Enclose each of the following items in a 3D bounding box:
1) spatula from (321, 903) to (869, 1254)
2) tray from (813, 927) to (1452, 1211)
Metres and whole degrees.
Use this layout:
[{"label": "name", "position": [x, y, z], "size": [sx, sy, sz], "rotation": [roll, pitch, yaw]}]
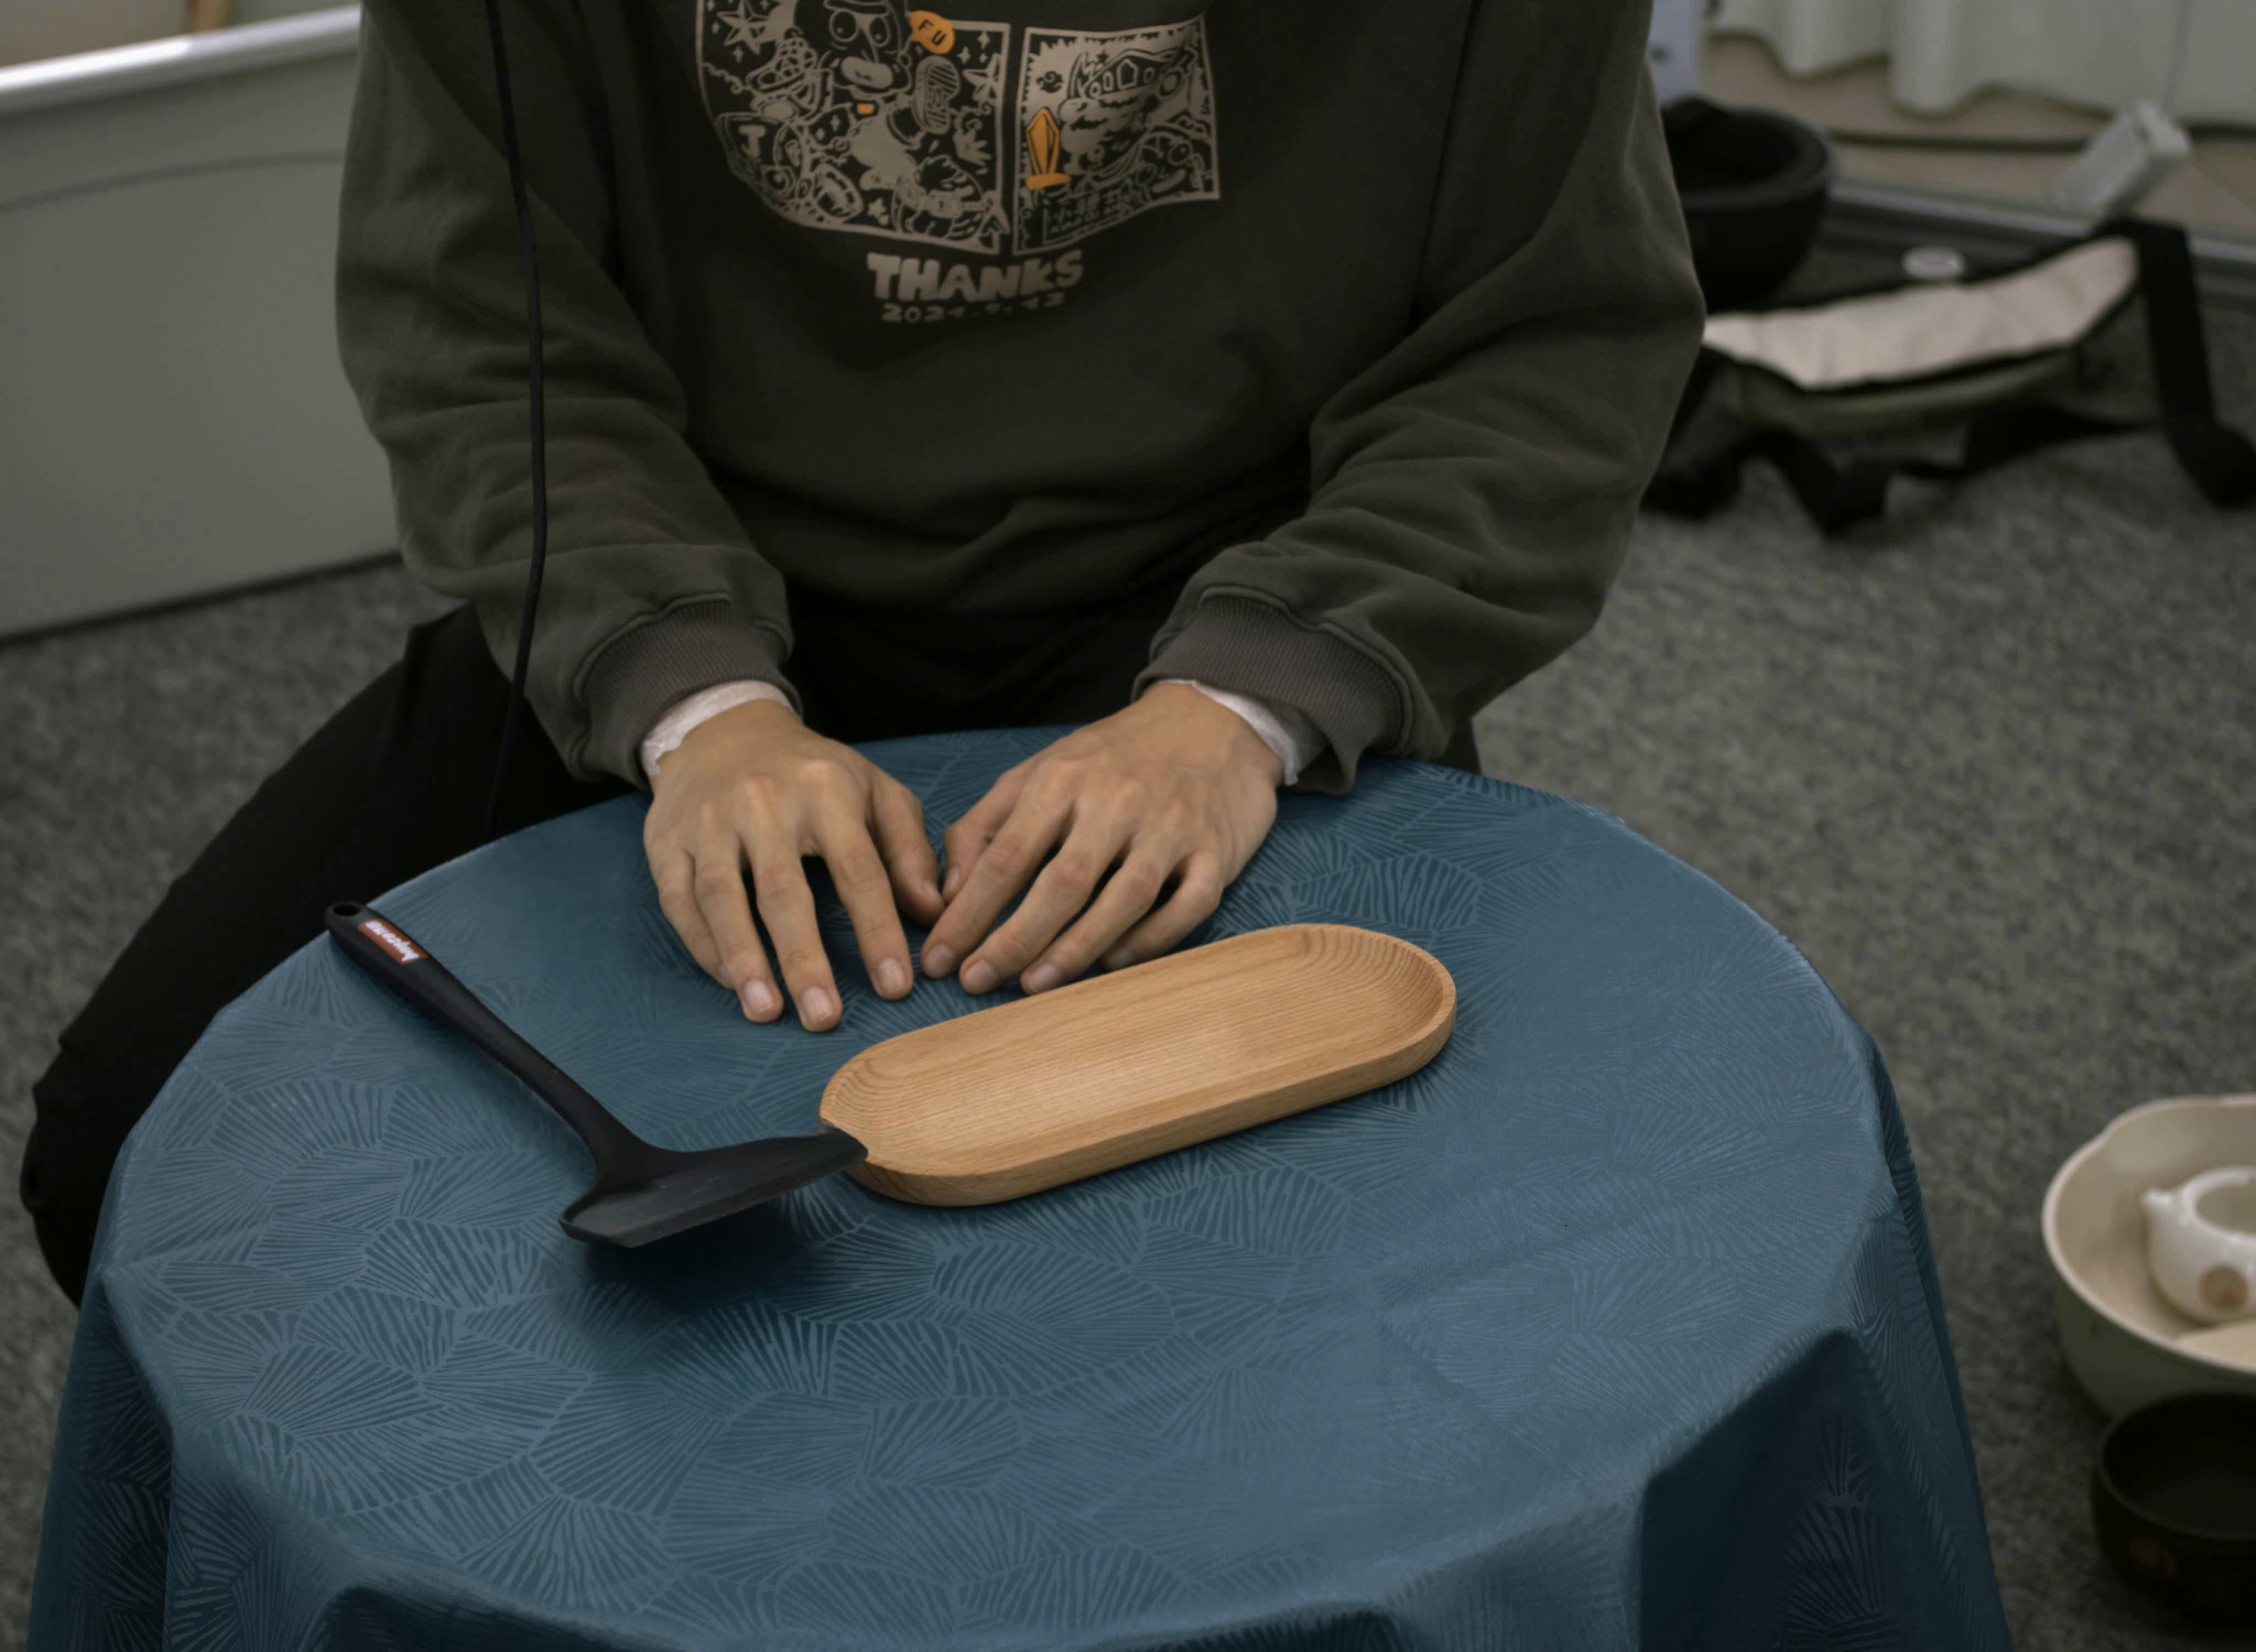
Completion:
[{"label": "spatula", "position": [-0.205, 0.079, 1.924], "size": [0.100, 0.040, 0.327], "rotation": [-17, 31, -28]}, {"label": "tray", "position": [0.003, 0.083, 1.918], "size": [0.232, 0.020, 0.102], "rotation": [-17, 30, -22]}]
